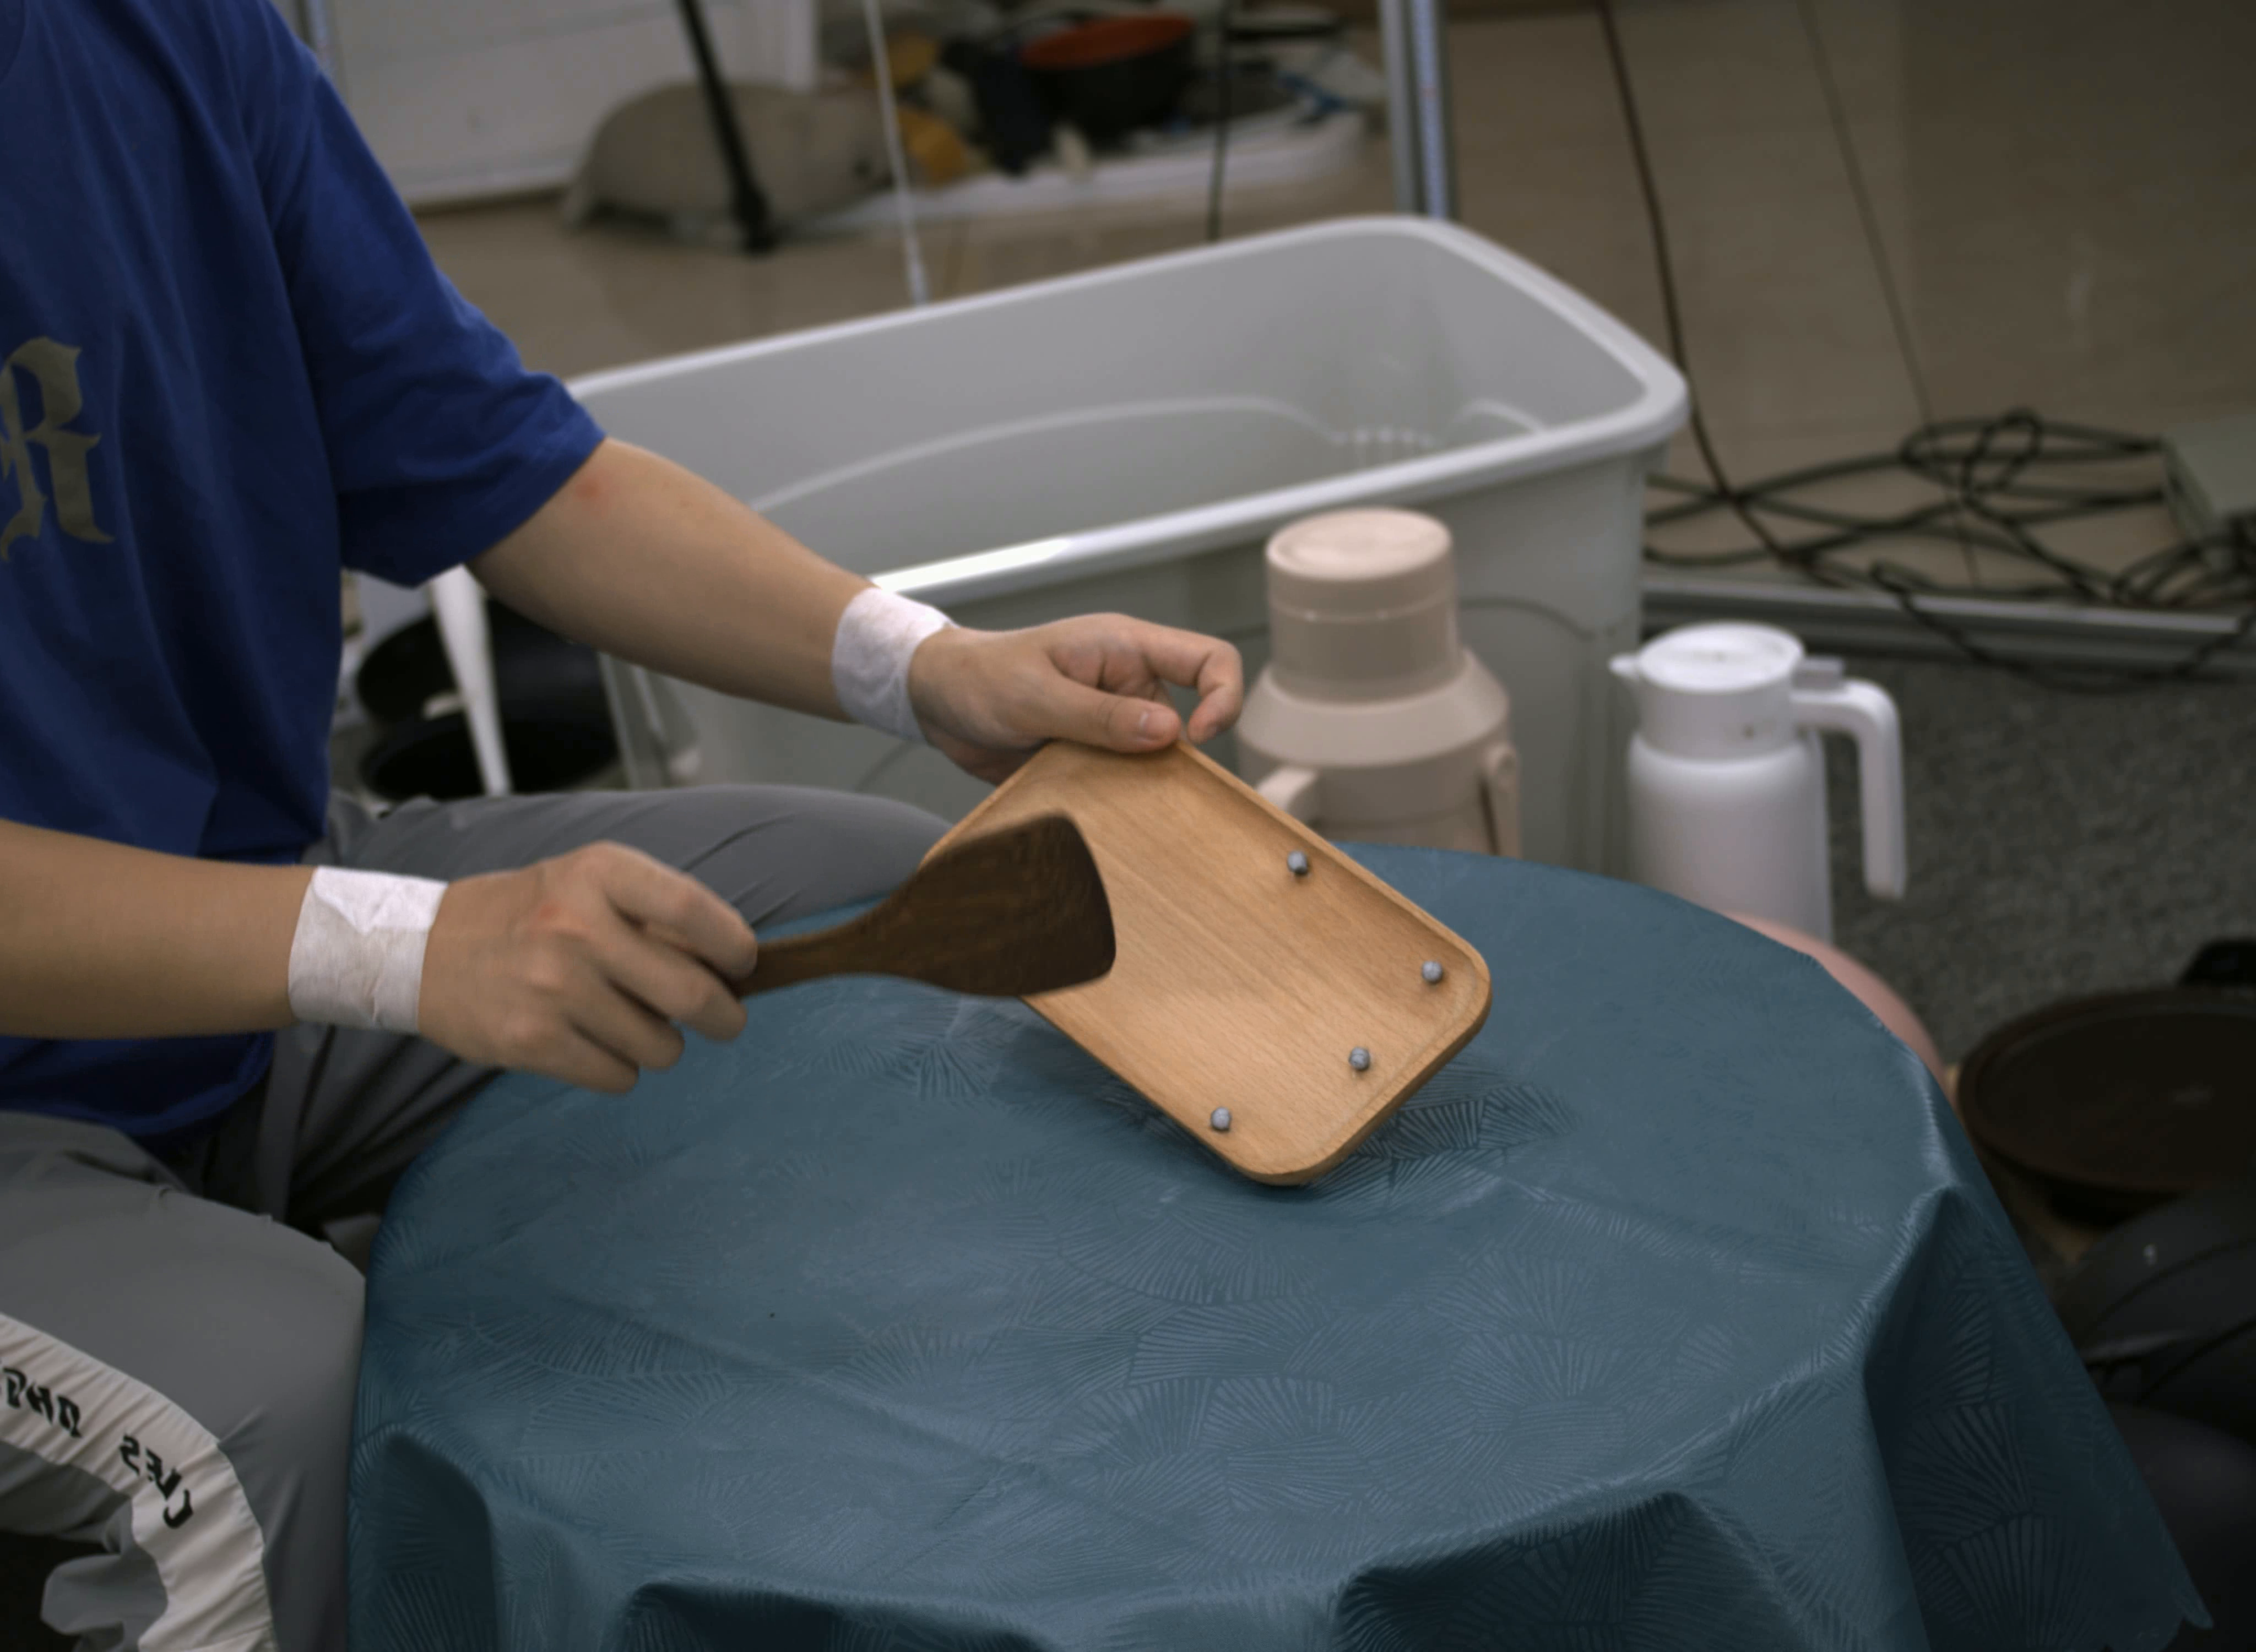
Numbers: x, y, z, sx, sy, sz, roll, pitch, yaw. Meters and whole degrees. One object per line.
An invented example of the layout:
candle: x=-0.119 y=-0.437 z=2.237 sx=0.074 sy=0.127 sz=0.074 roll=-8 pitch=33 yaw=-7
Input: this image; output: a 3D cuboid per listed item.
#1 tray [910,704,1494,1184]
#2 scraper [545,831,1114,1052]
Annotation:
tray: x=0.027 y=0.044 z=2.216 sx=0.130 sy=0.023 sz=0.247 roll=-39 pitch=49 yaw=-15
scraper: x=-0.111 y=0.052 z=2.060 sx=0.211 sy=0.077 sz=0.010 roll=-12 pitch=33 yaw=12
